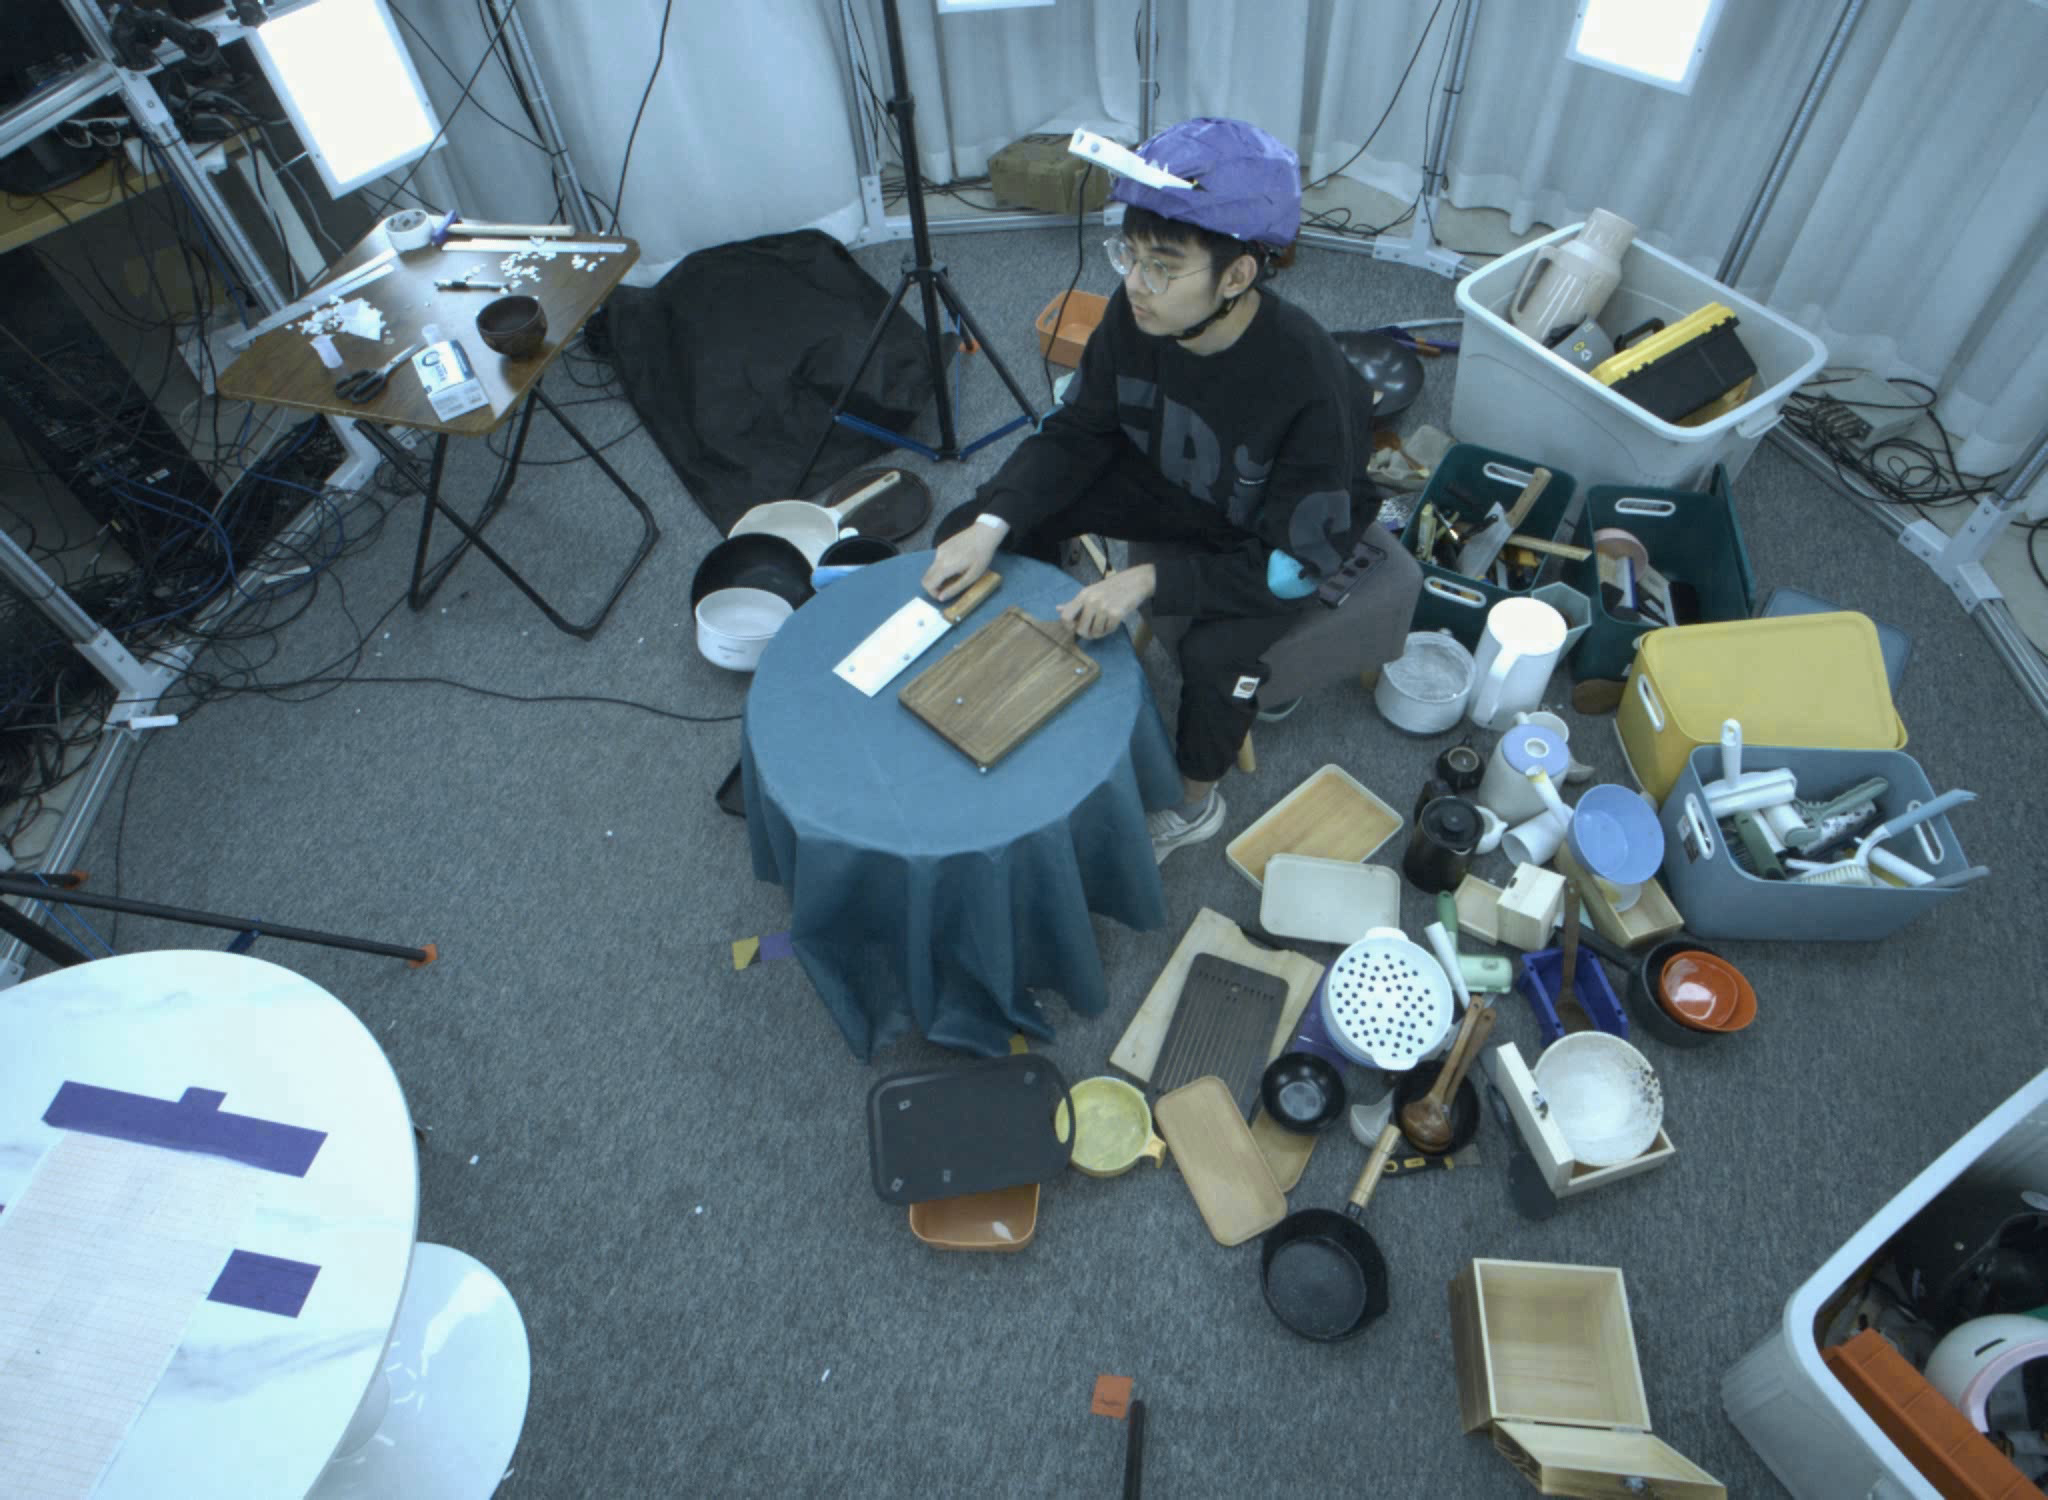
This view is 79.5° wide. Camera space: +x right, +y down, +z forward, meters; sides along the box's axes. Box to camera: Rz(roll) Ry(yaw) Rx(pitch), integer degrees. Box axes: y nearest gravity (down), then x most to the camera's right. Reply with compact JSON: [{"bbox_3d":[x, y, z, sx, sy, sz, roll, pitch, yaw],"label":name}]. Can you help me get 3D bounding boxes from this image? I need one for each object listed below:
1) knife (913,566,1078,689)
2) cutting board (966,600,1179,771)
[{"bbox_3d":[-0.048,-0.206,1.925,0.307,0.021,0.091,-41,61,-21],"label":"knife"},{"bbox_3d":[0.105,-0.125,1.859,0.355,0.023,0.197,-37,61,-21],"label":"cutting board"}]
